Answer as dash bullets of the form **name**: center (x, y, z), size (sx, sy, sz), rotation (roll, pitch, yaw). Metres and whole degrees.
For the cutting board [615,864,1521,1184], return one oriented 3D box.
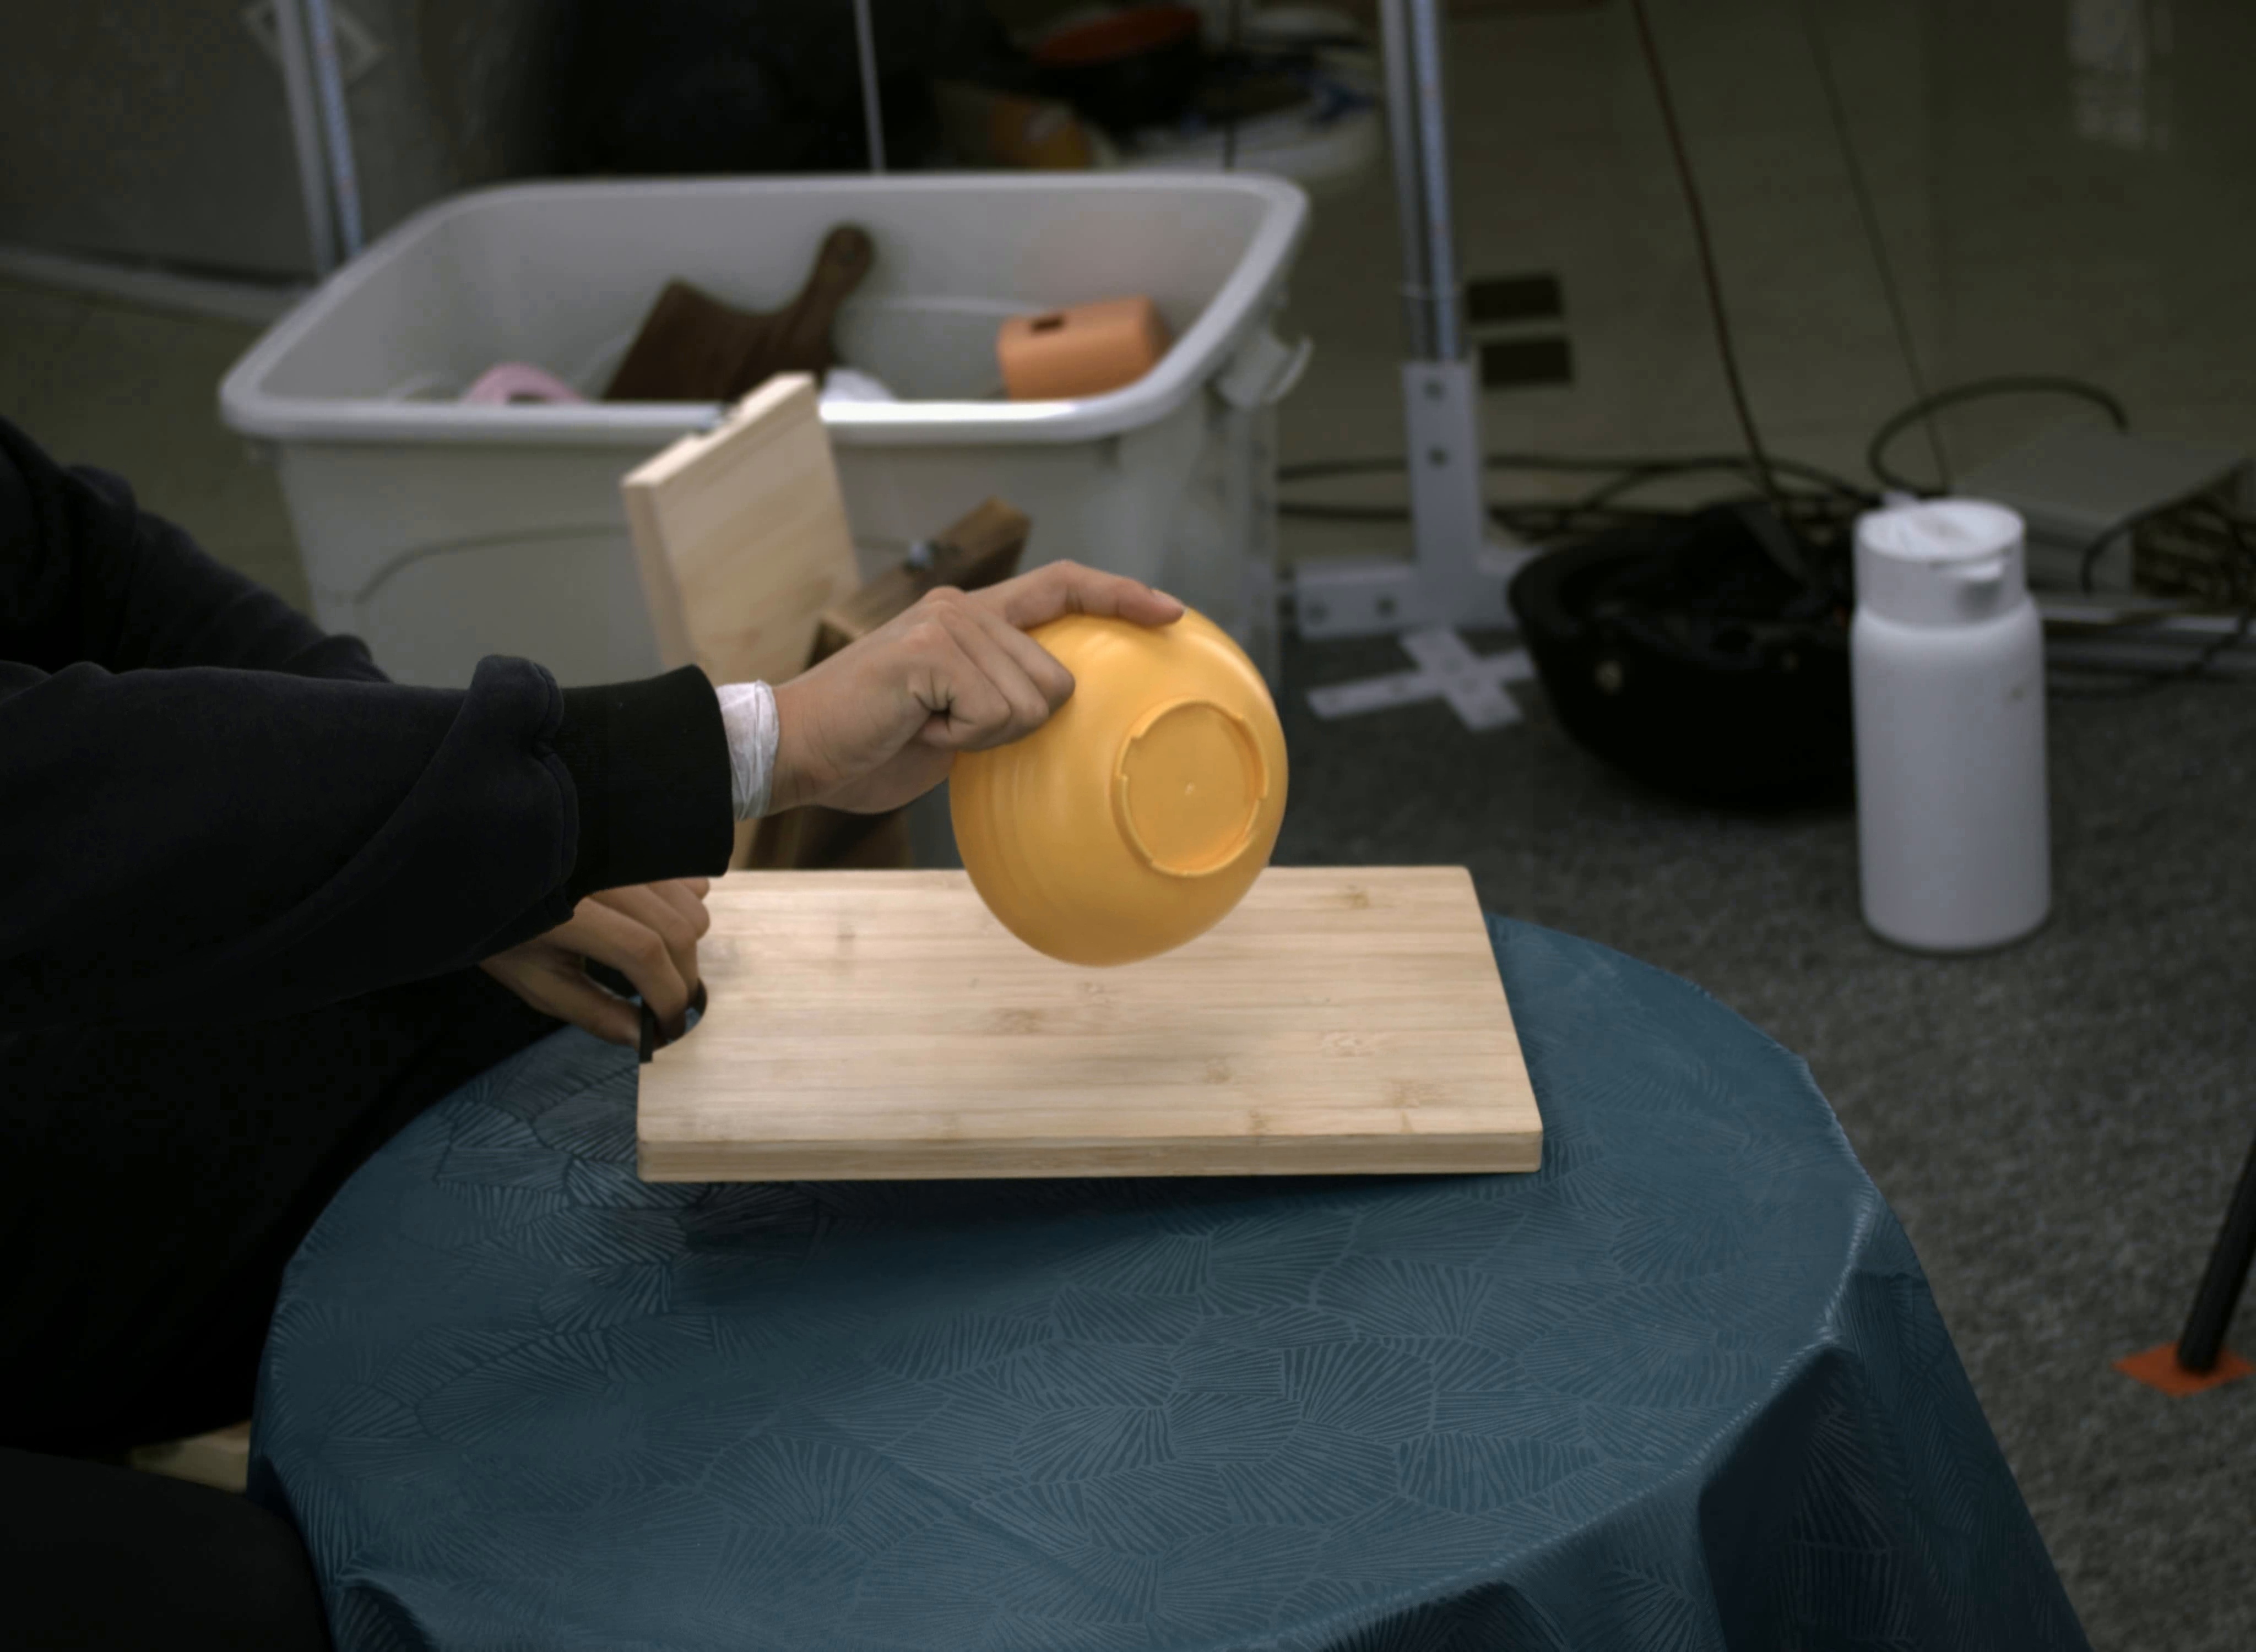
- **cutting board**: center (-0.027, 0.075, 2.225), size (0.348, 0.024, 0.247), rotation (-1, 25, -5)

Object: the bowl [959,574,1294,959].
- **bowl**: center (0.012, -0.021, 2.102), size (0.144, 0.147, 0.060), rotation (-23, 18, -32)
